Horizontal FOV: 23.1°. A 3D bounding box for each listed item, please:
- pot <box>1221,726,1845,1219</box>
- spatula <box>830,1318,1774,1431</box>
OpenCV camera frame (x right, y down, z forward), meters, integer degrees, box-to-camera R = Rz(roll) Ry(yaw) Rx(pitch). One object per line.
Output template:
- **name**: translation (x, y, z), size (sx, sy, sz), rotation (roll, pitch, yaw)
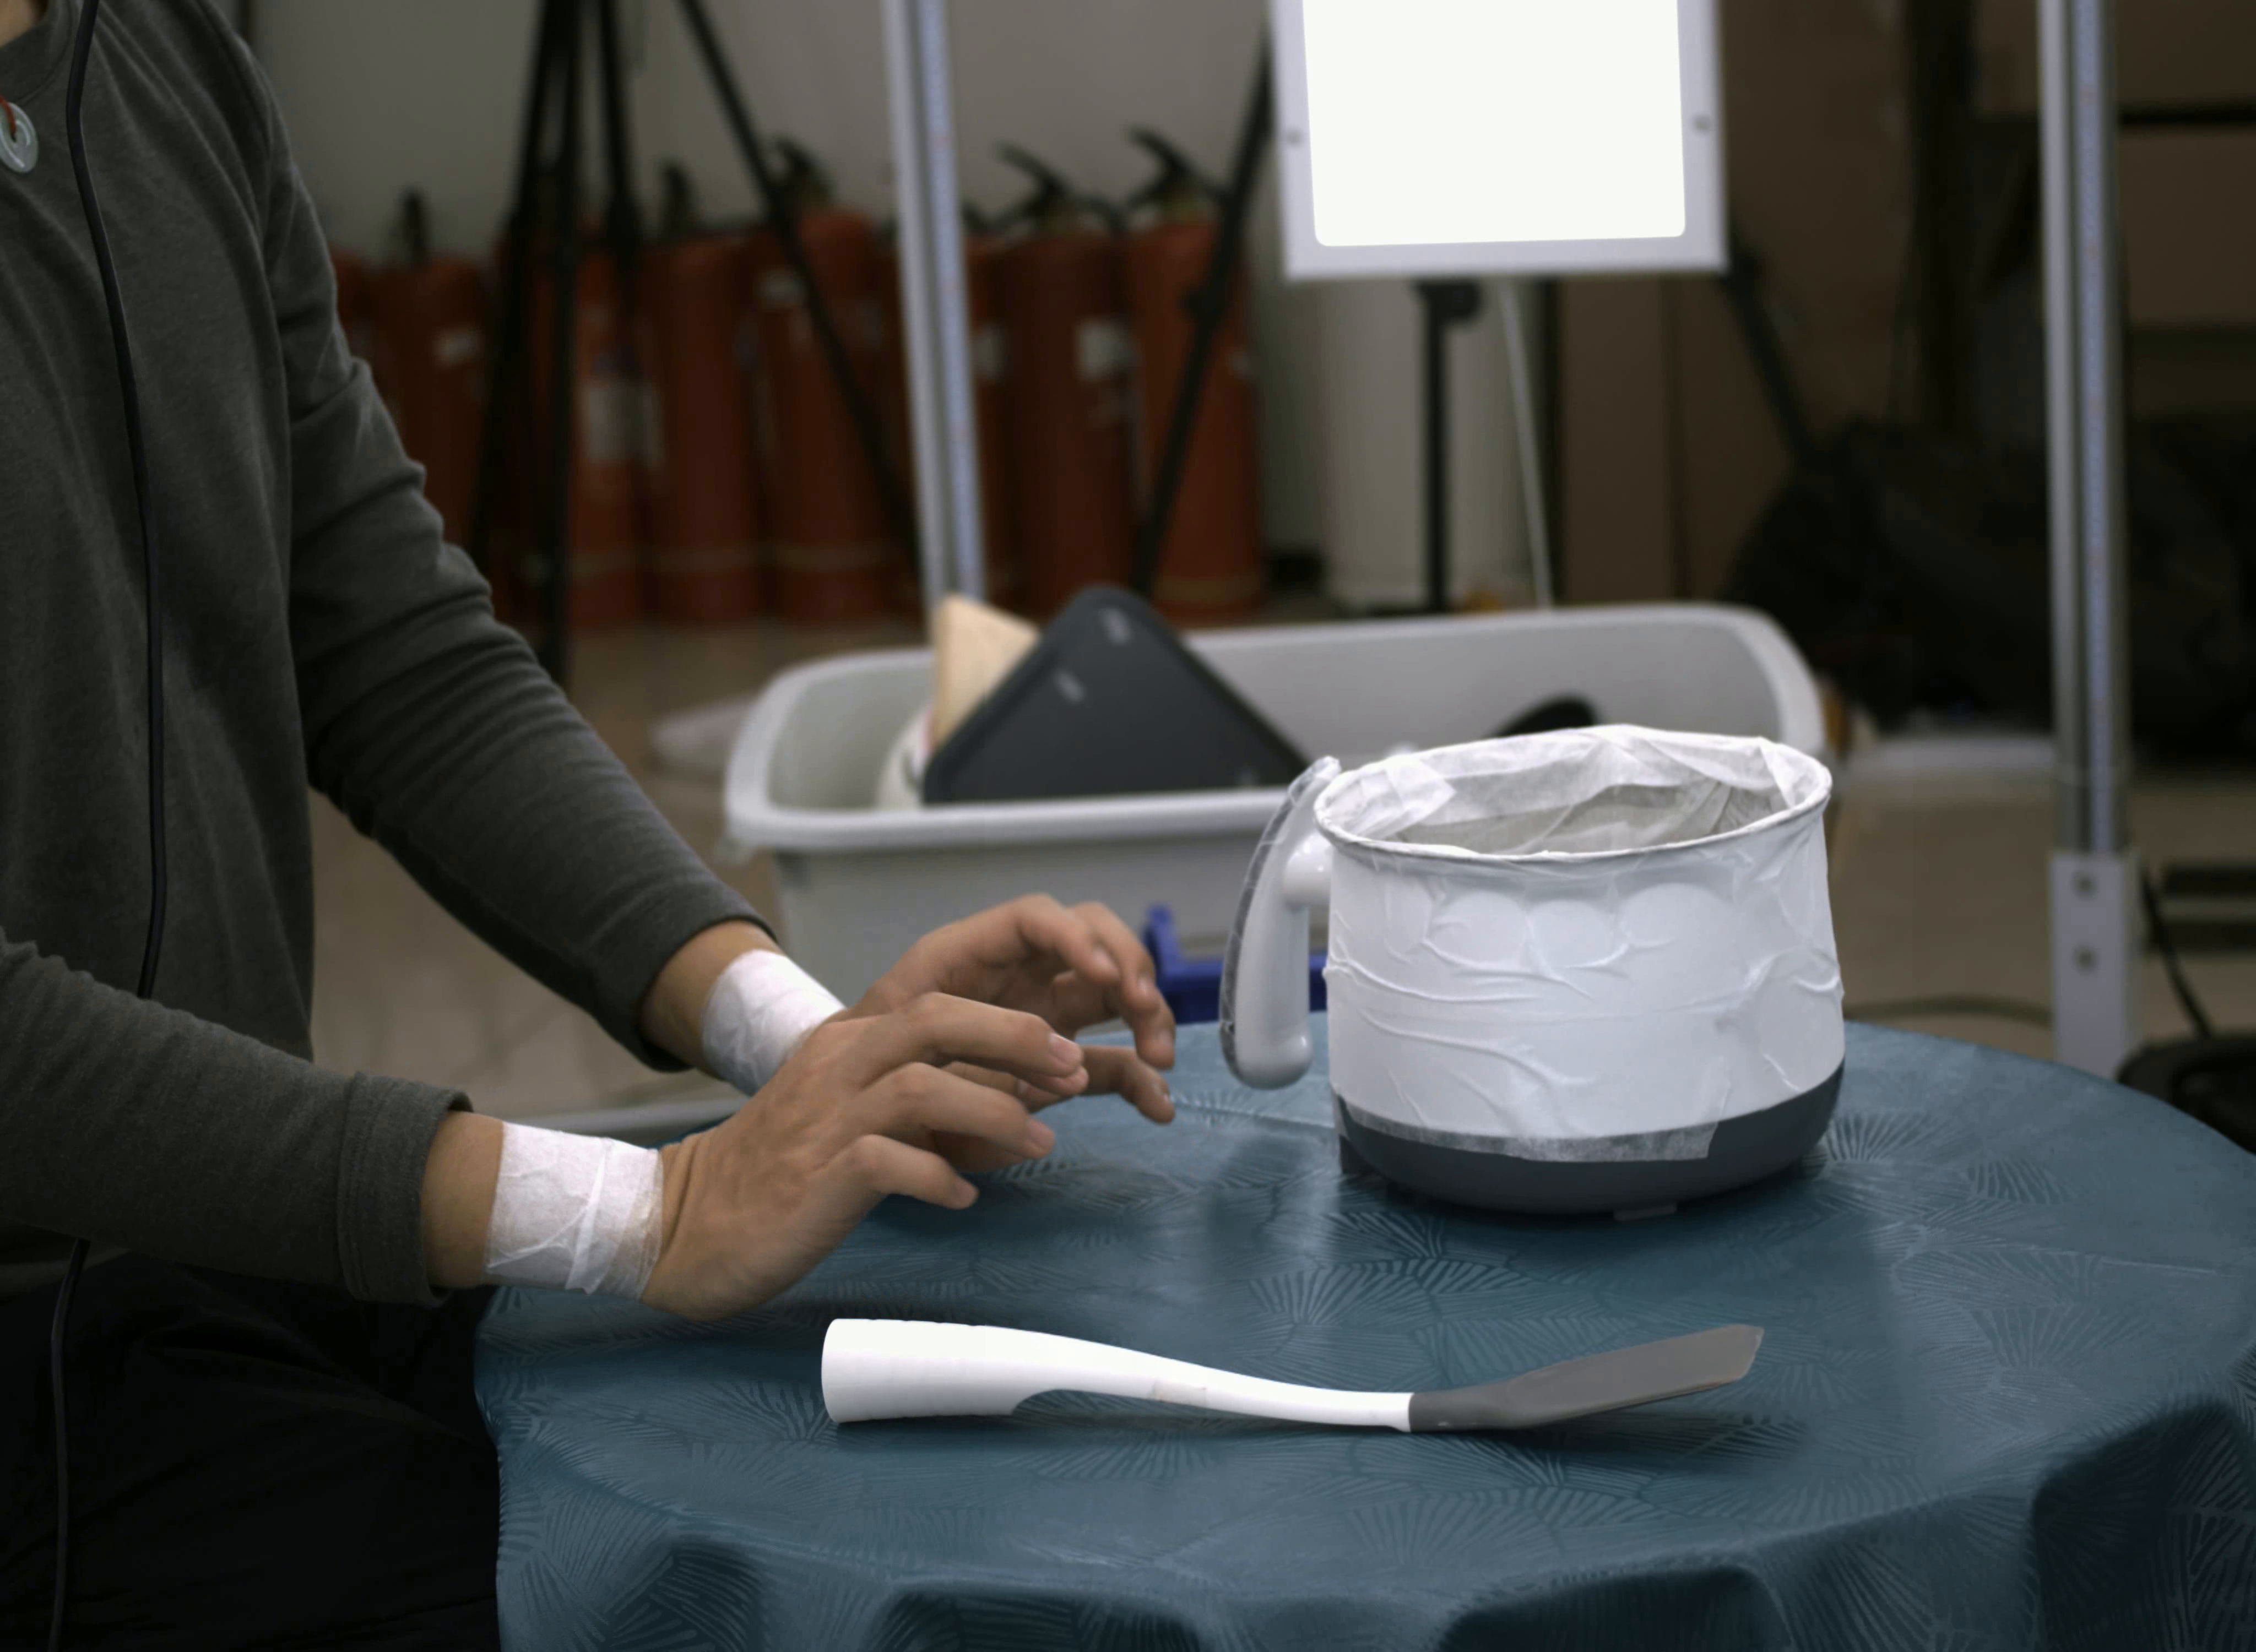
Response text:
- **pot**: translation (0.133, 0.046, 1.891), size (0.238, 0.137, 0.174), rotation (5, 16, 35)
- **spatula**: translation (0.051, 0.165, 1.655), size (0.291, 0.032, 0.058), rotation (-1, 12, 17)
